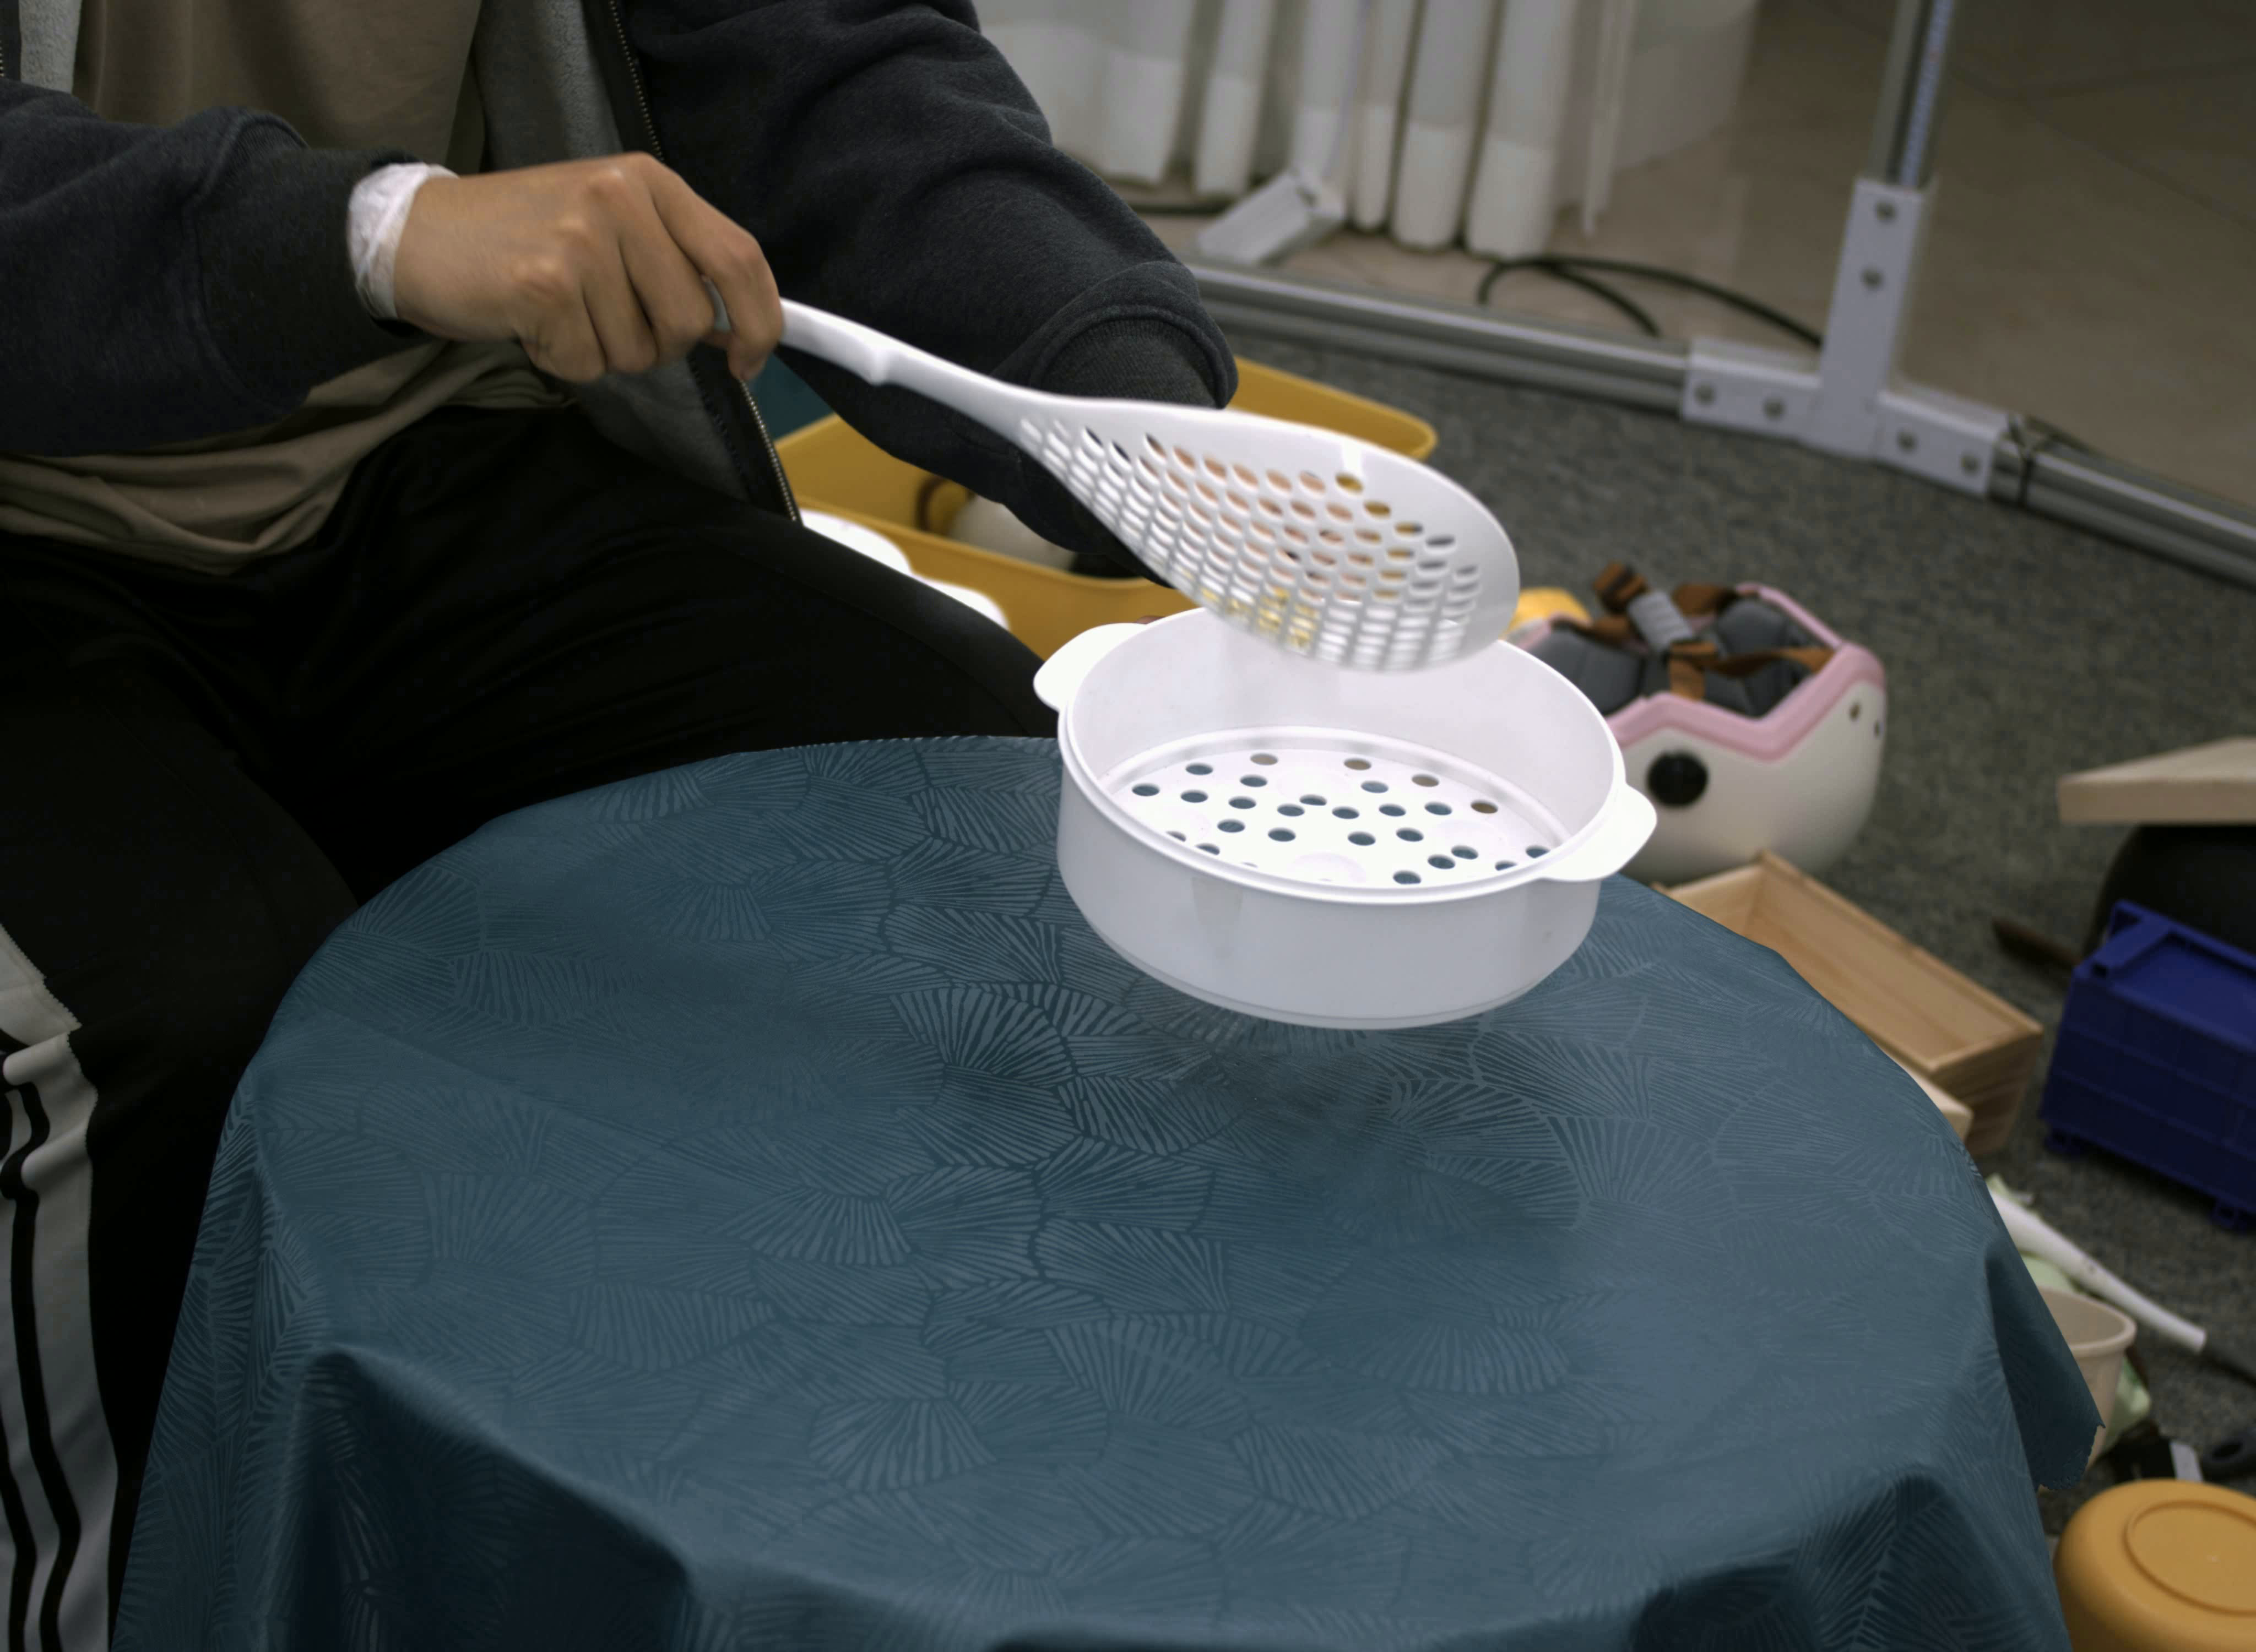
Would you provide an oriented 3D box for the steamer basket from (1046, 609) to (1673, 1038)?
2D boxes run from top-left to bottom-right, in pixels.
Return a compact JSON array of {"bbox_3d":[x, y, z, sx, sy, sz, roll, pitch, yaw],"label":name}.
[{"bbox_3d":[0.077,-0.002,1.878,0.231,0.069,0.202,21,34,20],"label":"steamer basket"}]

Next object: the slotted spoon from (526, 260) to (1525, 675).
[{"bbox_3d":[-0.035,-0.127,1.781,0.347,0.136,0.050,25,67,3],"label":"slotted spoon"}]
